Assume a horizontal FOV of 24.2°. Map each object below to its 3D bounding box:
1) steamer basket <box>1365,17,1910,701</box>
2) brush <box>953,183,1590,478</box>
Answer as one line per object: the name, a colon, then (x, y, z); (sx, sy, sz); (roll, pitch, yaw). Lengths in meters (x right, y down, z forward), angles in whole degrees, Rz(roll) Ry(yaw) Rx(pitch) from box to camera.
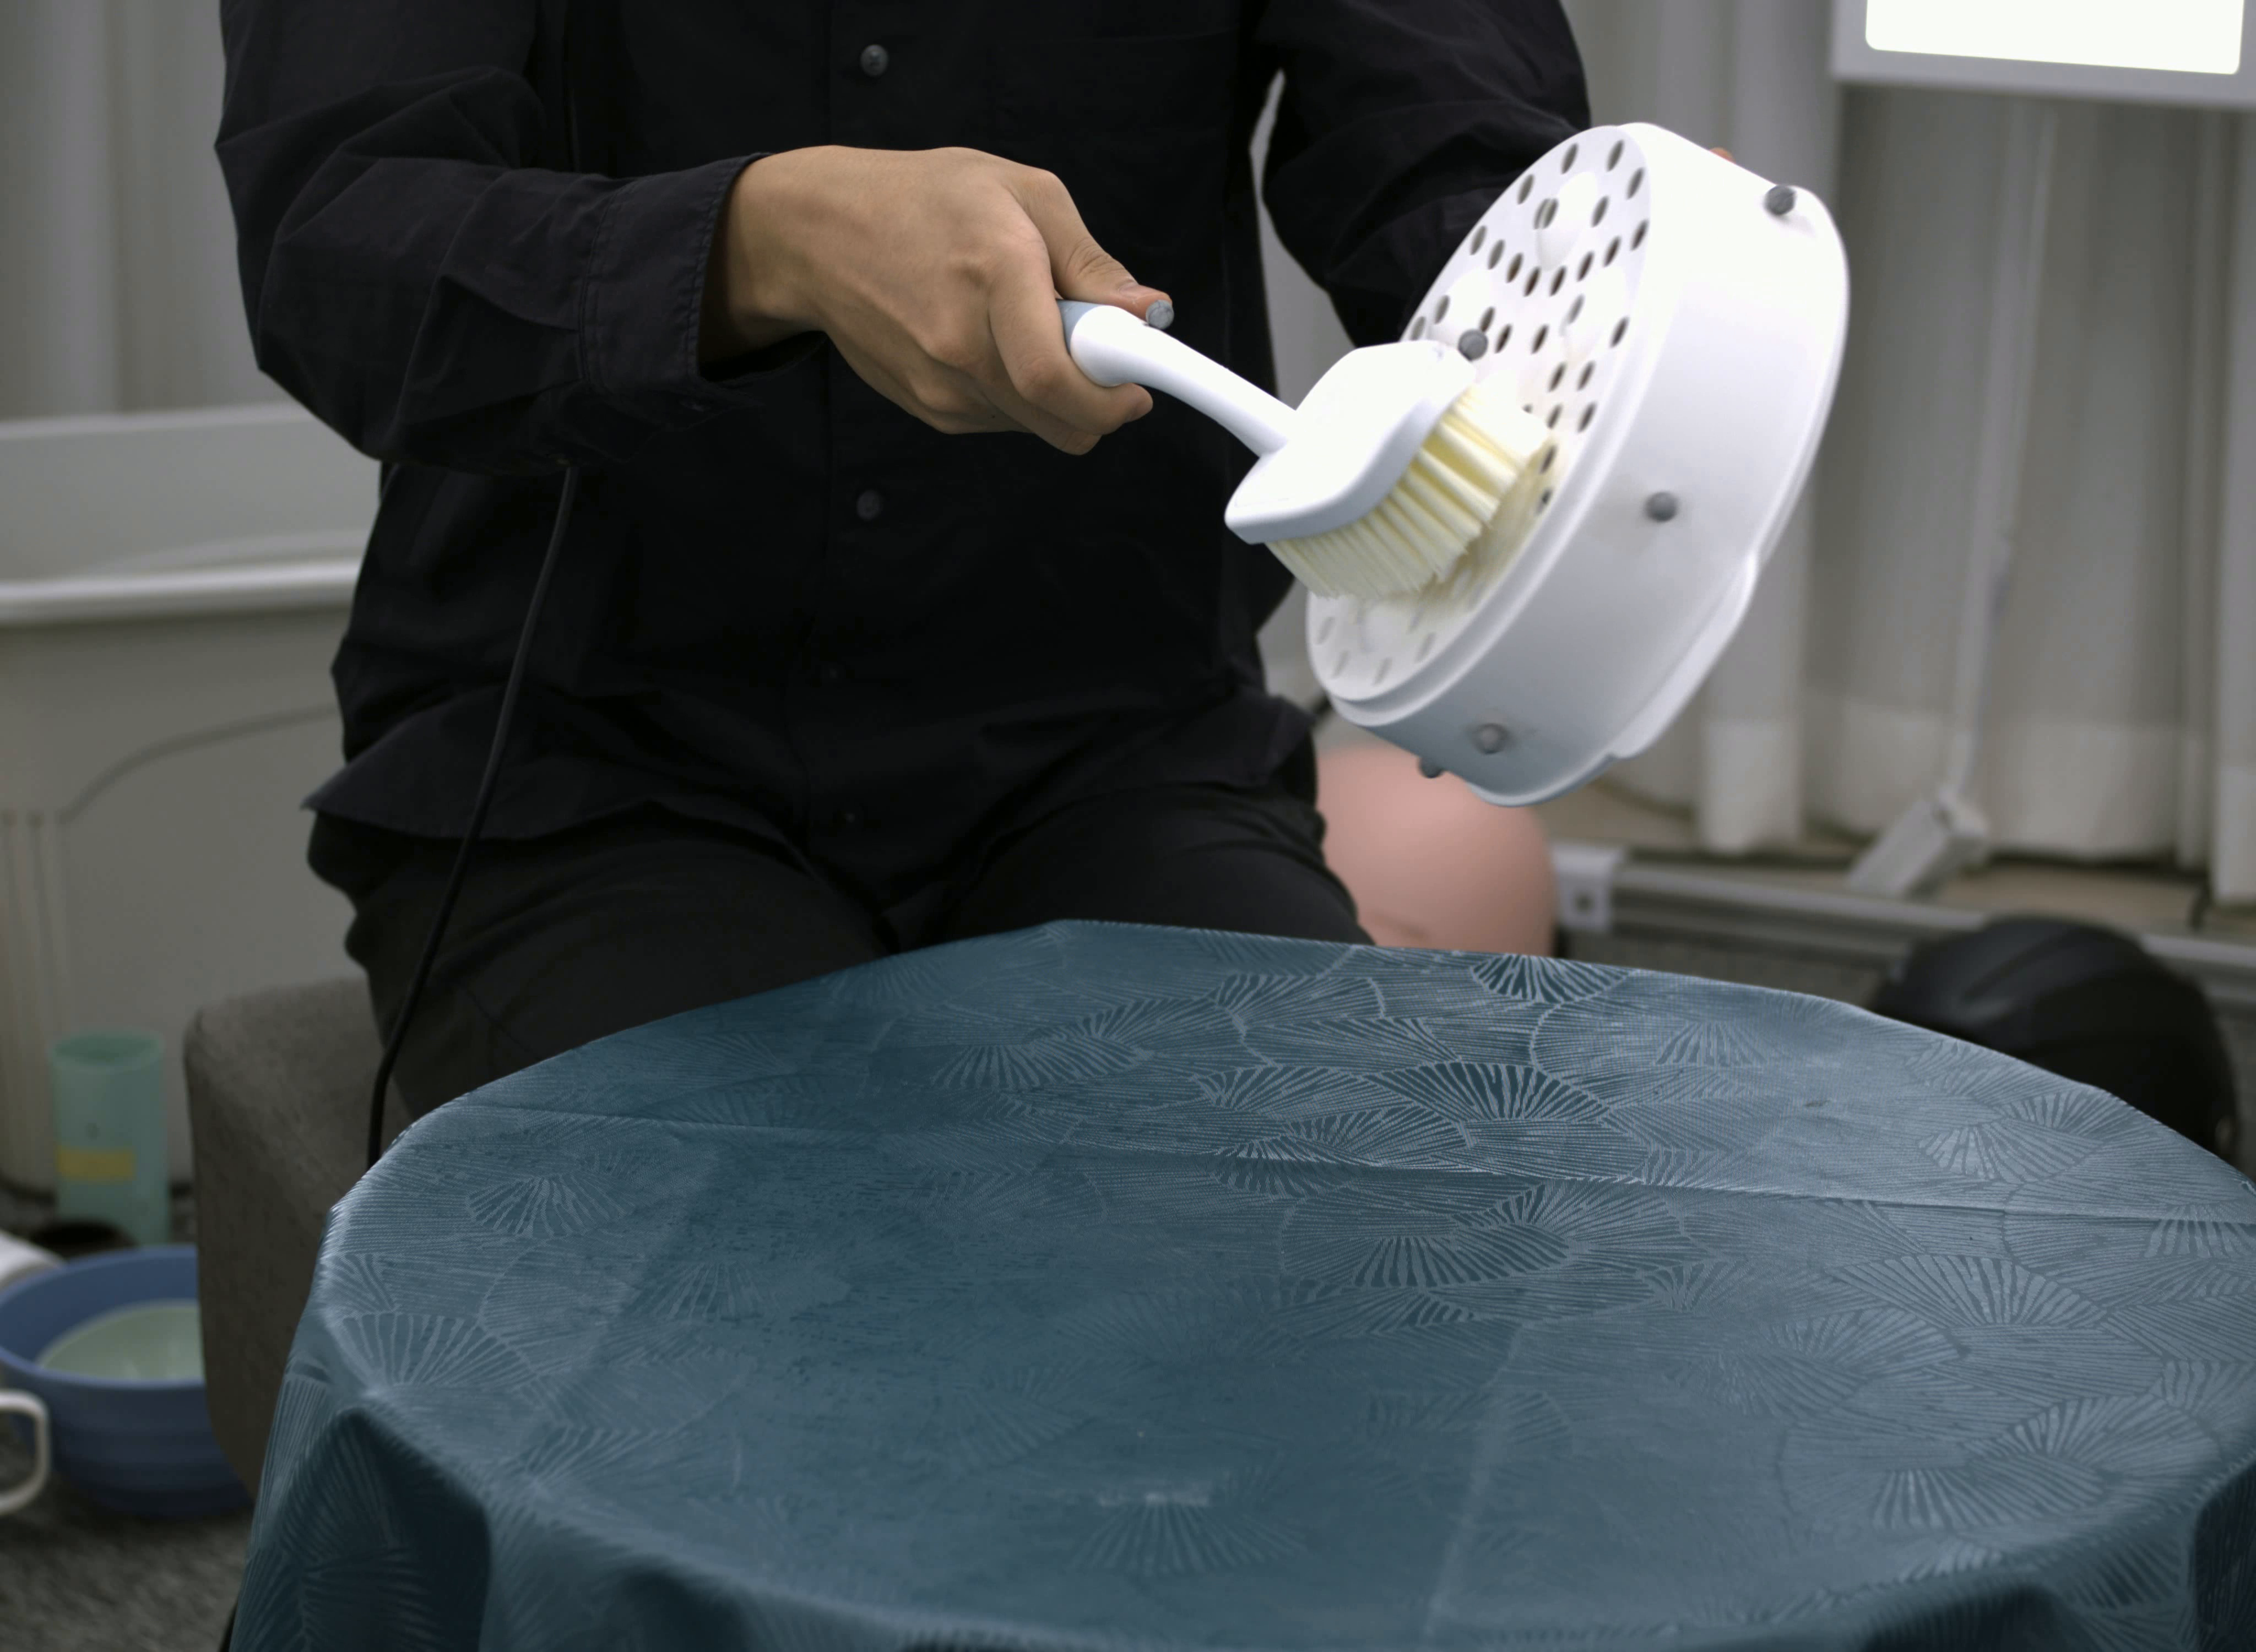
steamer basket: (0.145, -0.140, 1.556); (0.069, 0.202, 0.228); (26, 26, -19)
brush: (0.050, -0.156, 1.615); (0.083, 0.085, 0.321); (-20, 18, -24)
